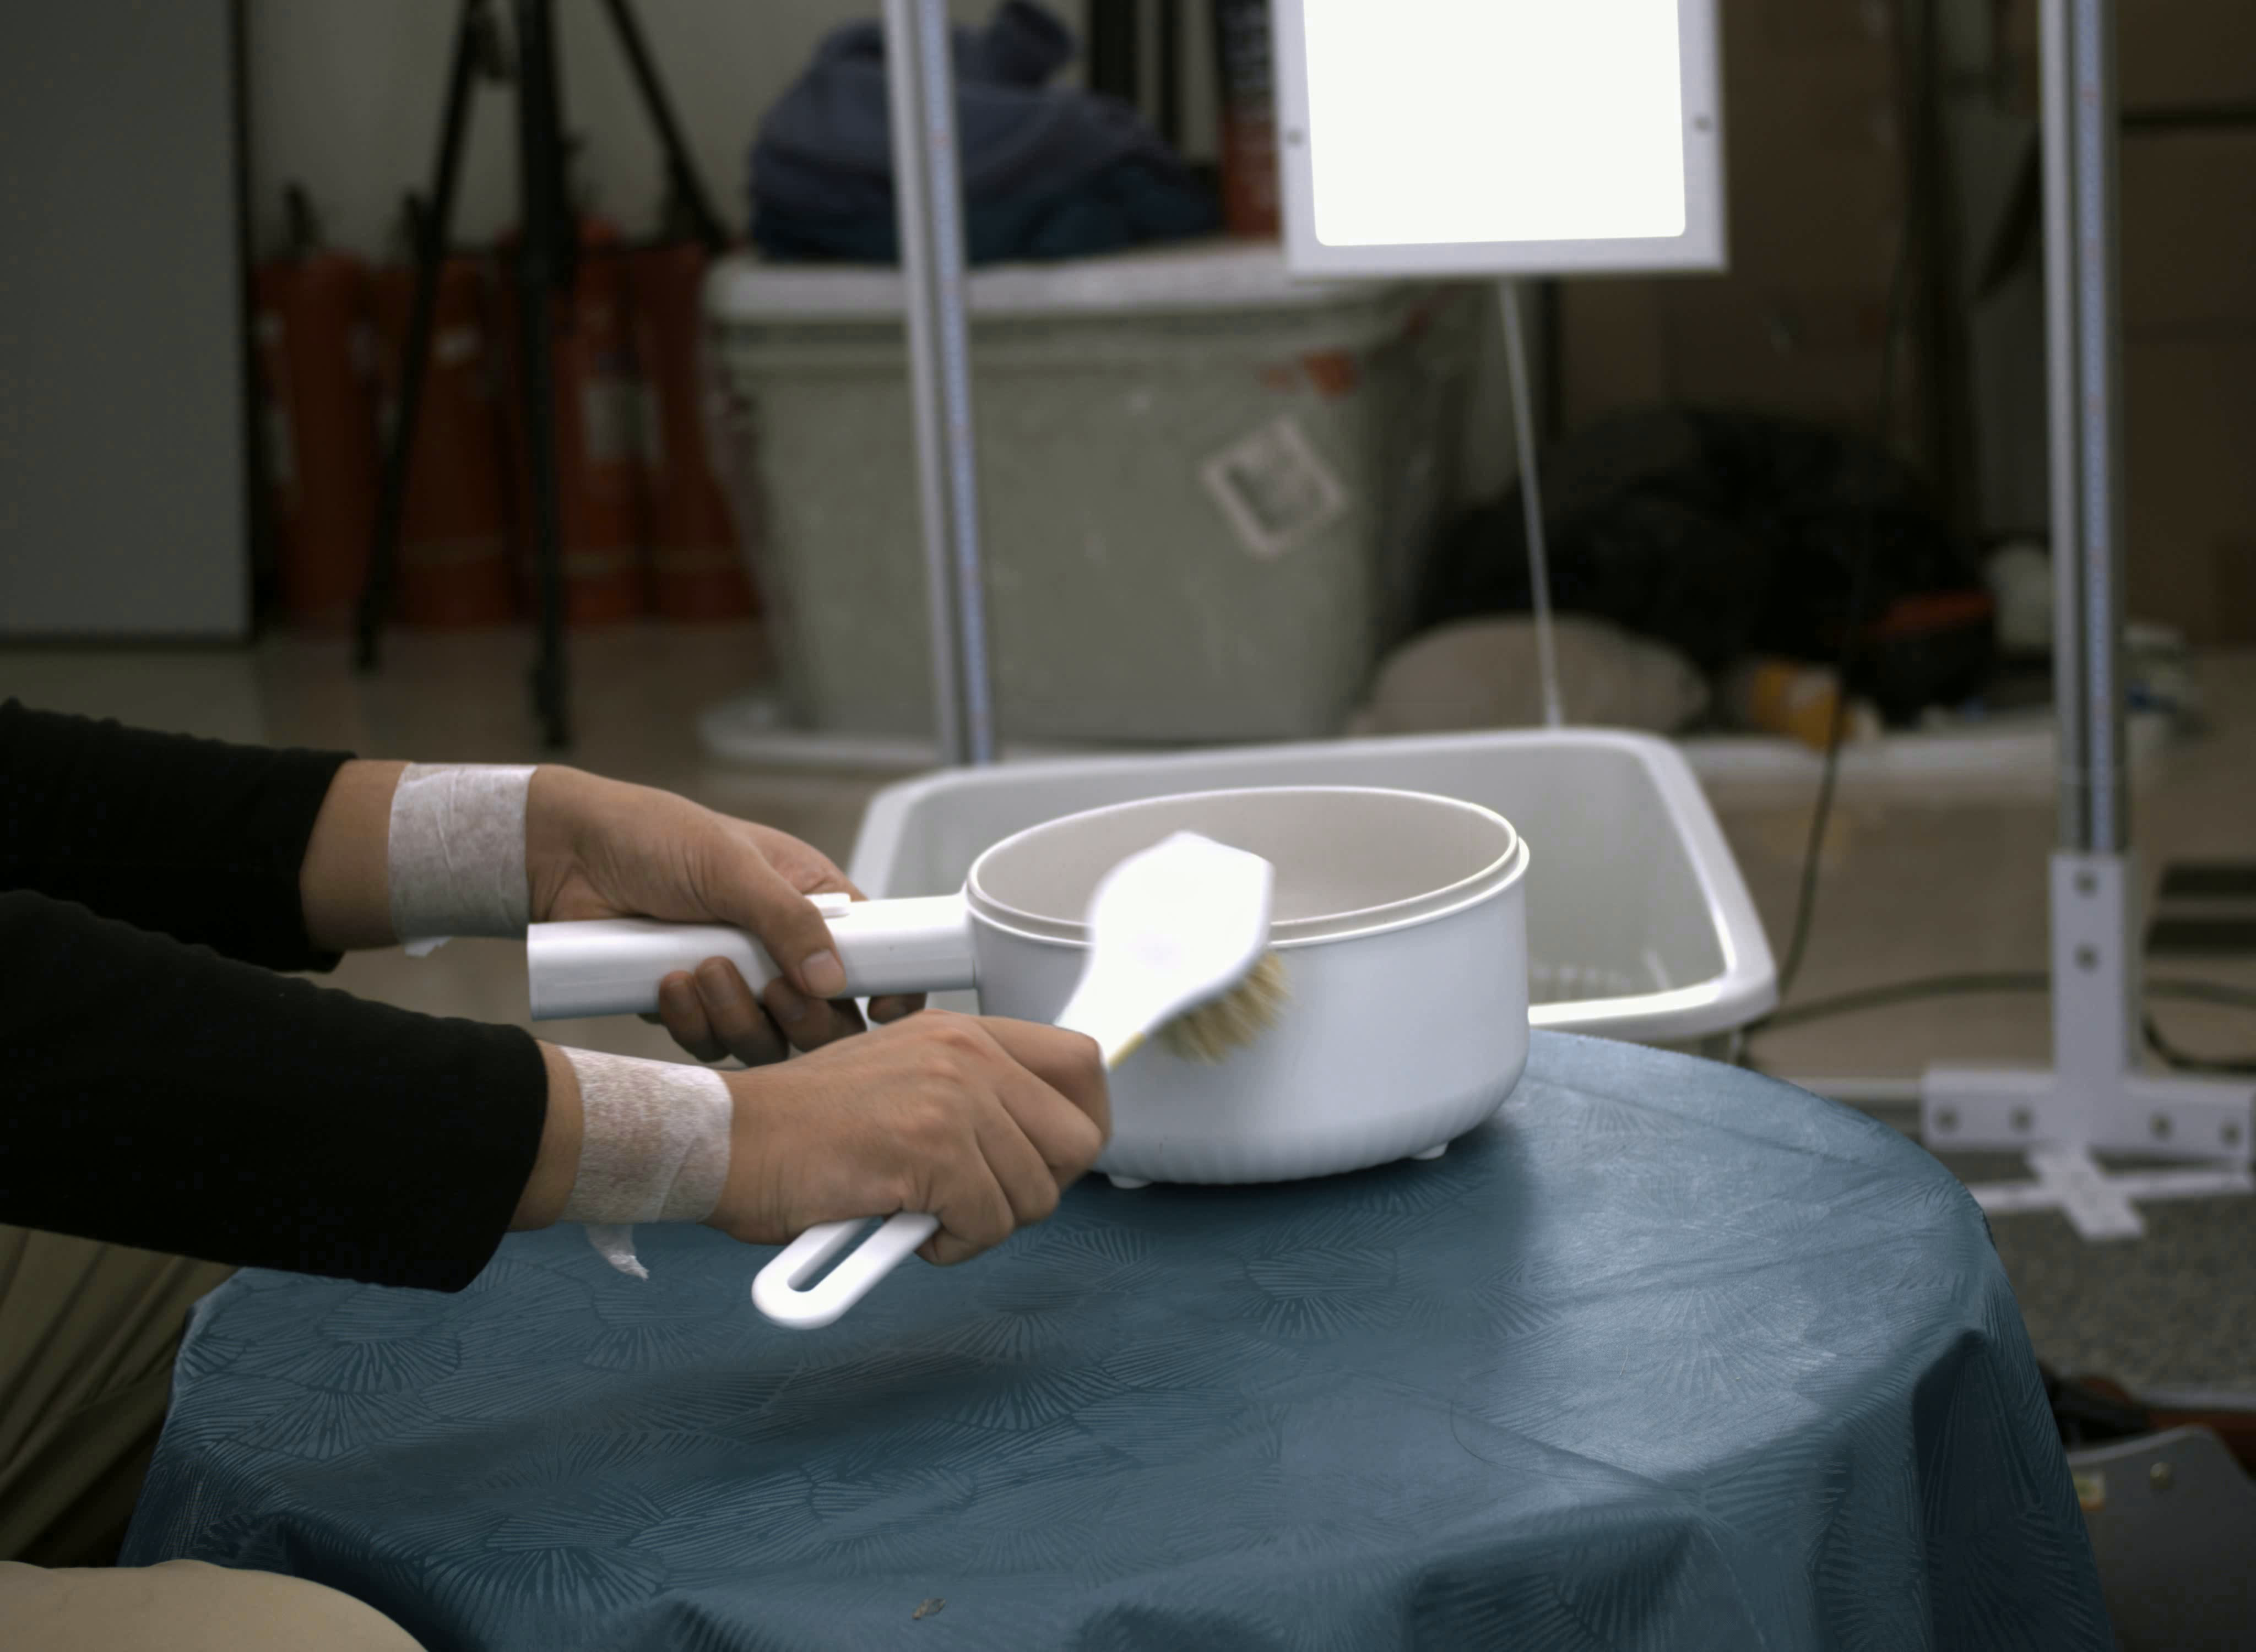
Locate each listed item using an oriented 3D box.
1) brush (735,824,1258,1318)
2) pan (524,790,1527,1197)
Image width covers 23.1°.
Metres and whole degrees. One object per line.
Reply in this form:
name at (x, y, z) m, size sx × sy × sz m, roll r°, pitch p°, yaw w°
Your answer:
brush at (-0.044, 0.091, 1.755) m, size 0.069 × 0.056 × 0.261 m, roll 14°, pitch 42°, yaw 29°
pan at (-0.033, 0.069, 1.945) m, size 0.353 × 0.102 × 0.201 m, roll -6°, pitch 15°, yaw -2°
